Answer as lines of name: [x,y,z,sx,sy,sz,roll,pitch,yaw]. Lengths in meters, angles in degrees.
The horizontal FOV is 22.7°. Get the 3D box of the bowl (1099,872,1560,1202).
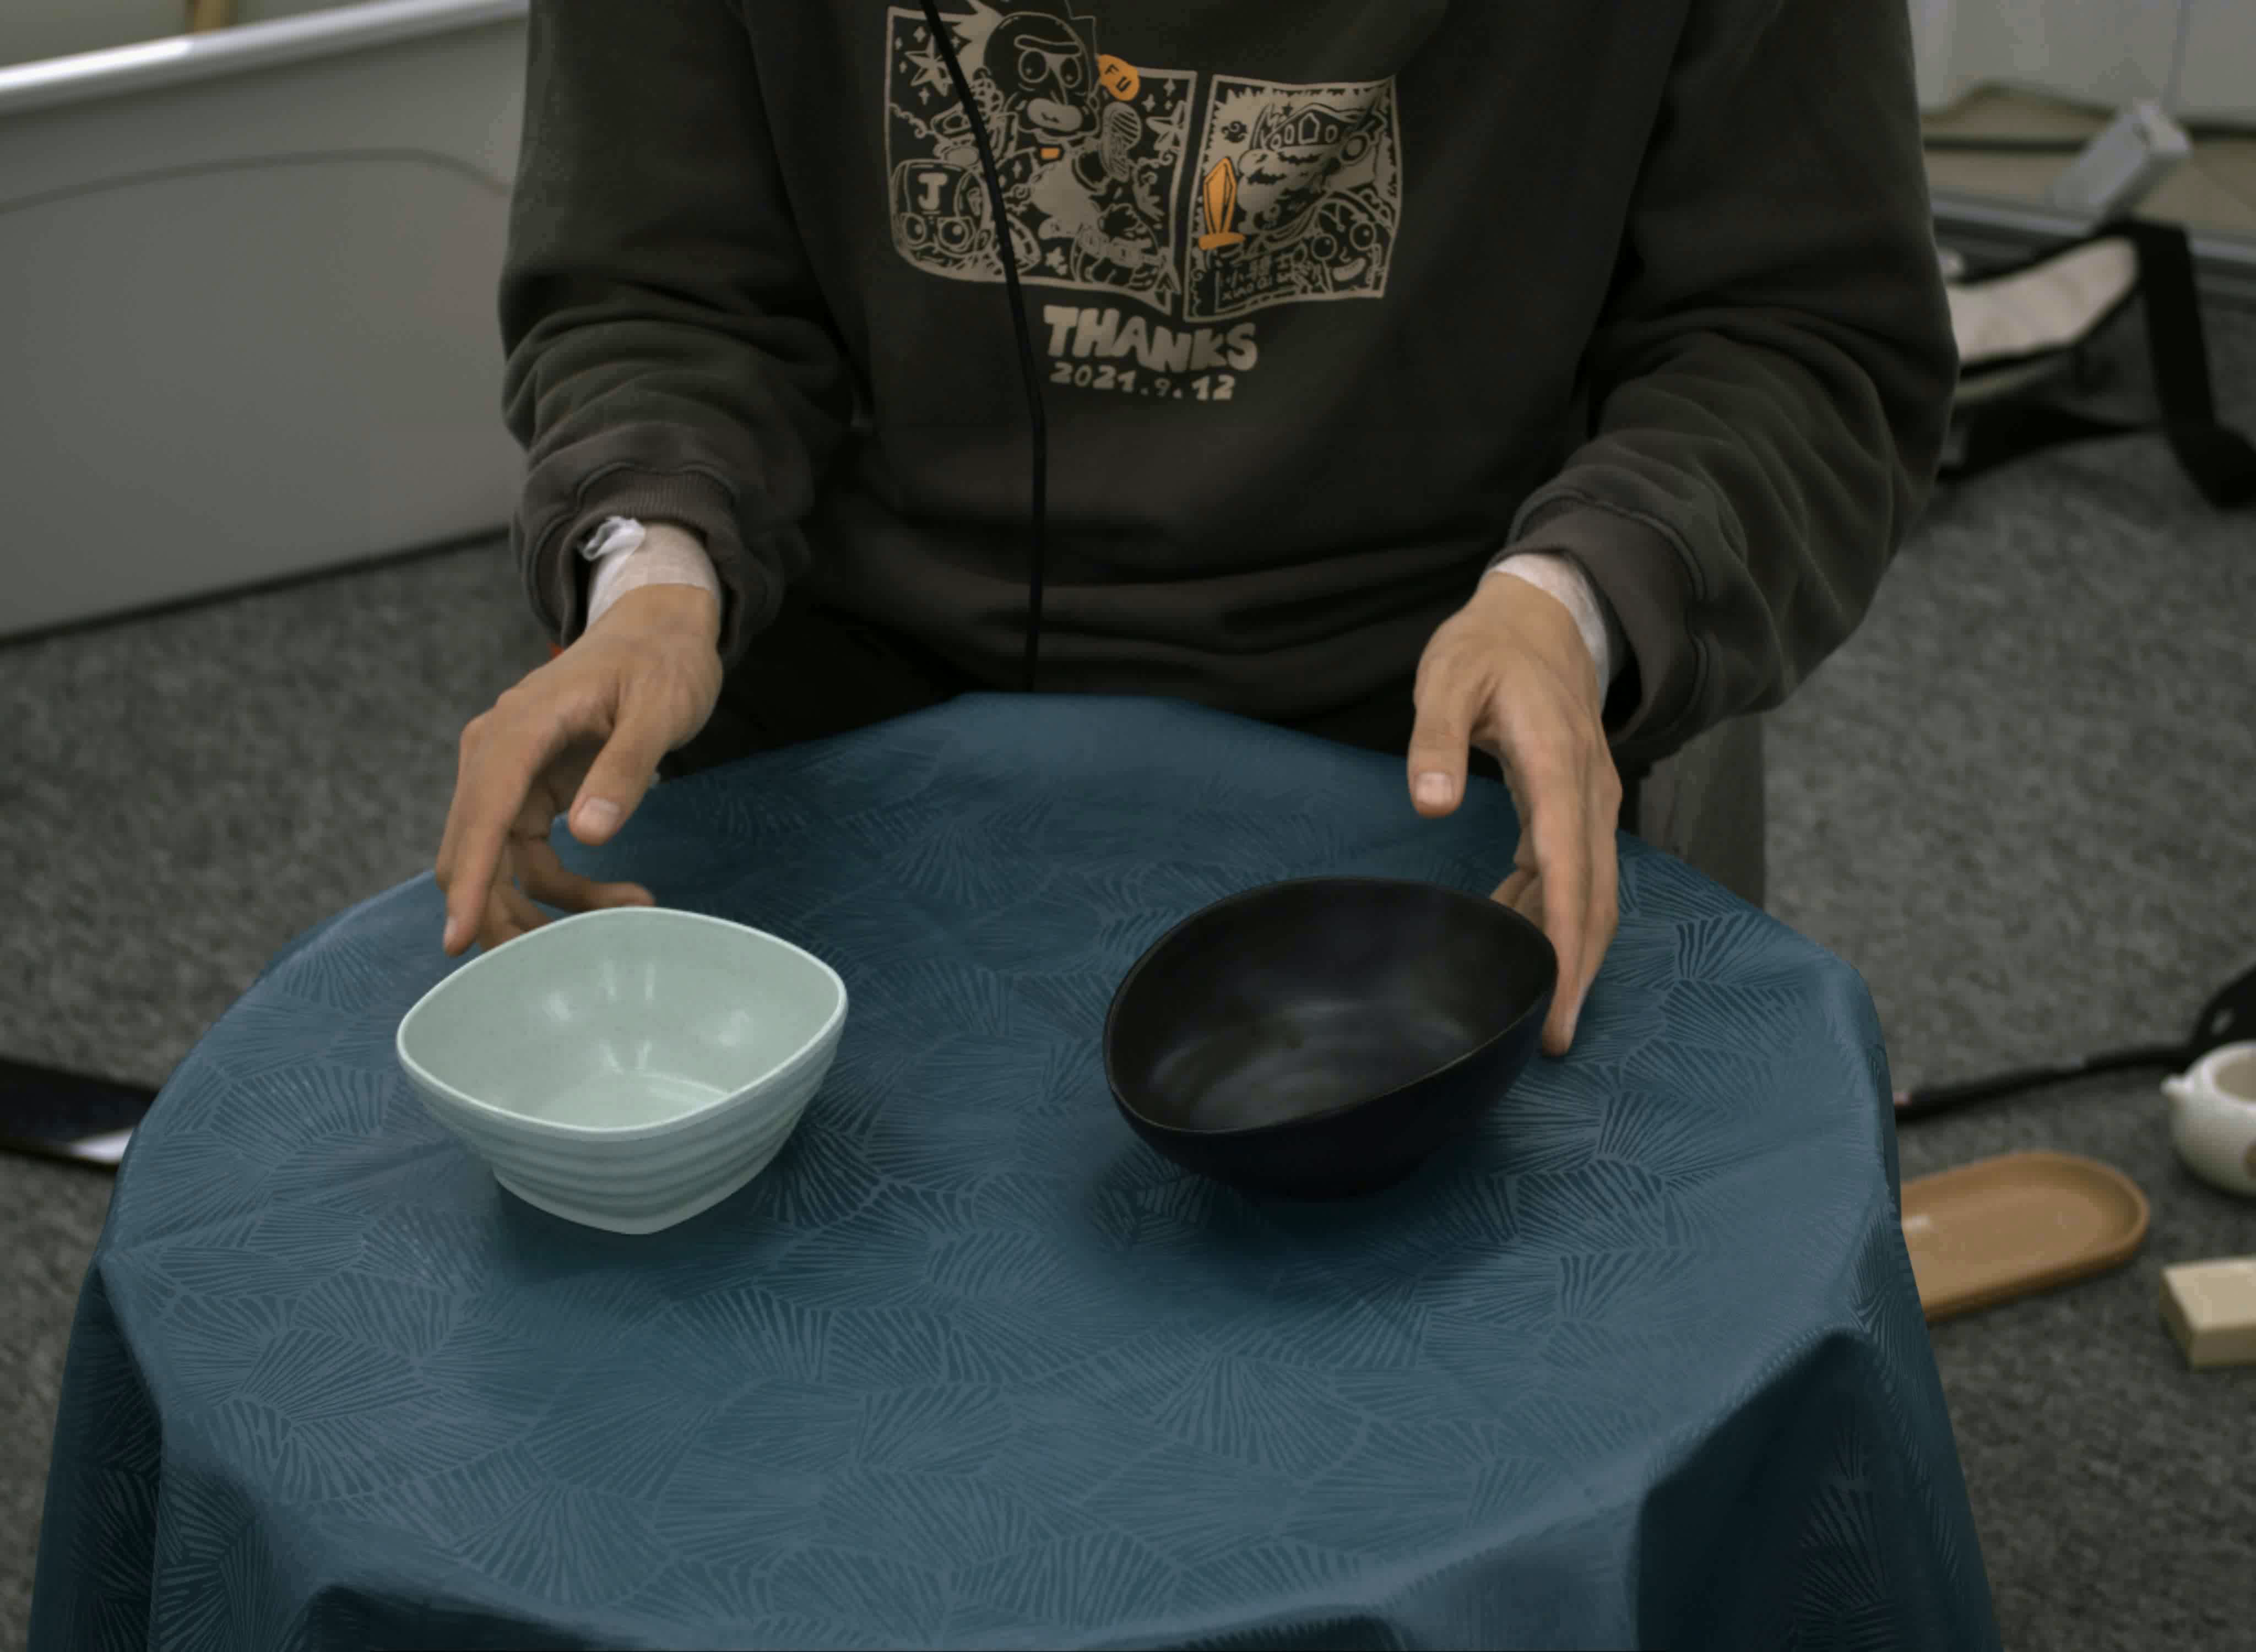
bowl: [0.068,0.080,1.866,0.137,0.066,0.172,21,37,38]

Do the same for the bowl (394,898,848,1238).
bowl: [-0.168,0.087,1.881,0.151,0.058,0.154,-1,29,1]
